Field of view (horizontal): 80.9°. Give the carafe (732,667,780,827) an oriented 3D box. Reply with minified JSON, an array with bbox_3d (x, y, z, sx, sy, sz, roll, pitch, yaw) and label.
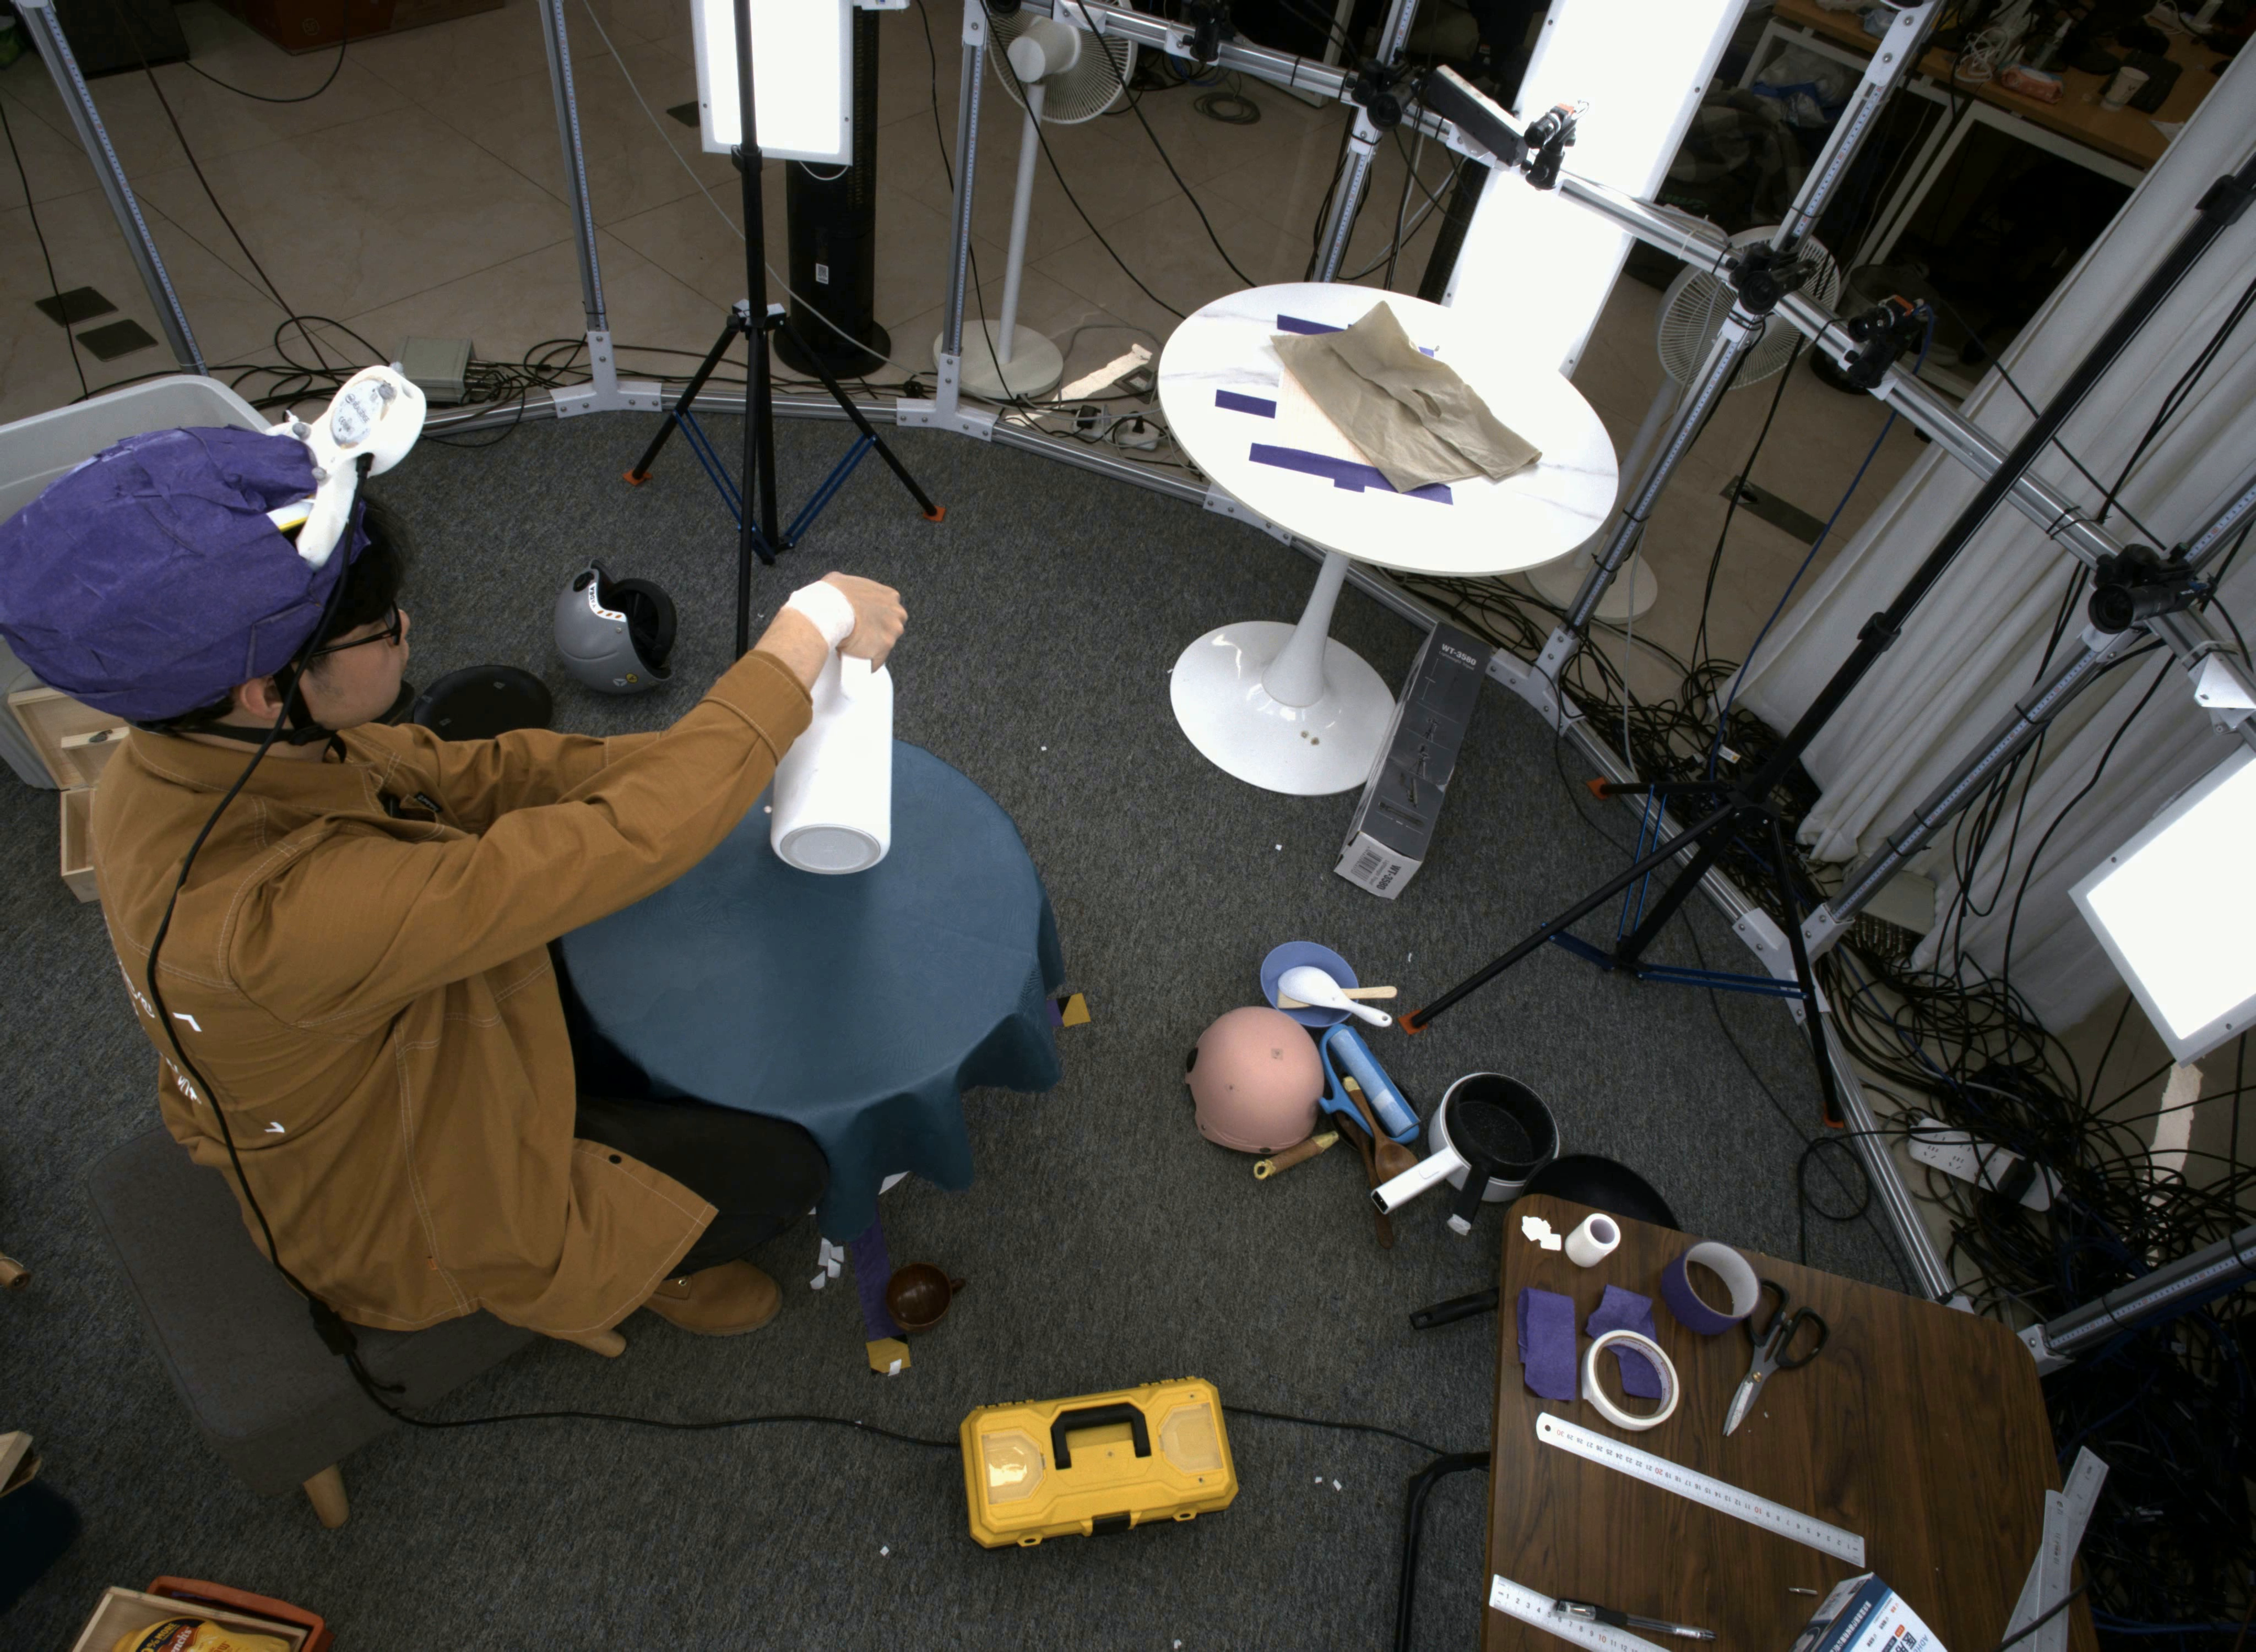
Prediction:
[{"bbox_3d":[-0.395,-0.098,1.566,0.167,0.252,0.131,14,57,-6],"label":"carafe"}]

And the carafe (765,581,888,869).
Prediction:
[{"bbox_3d":[-0.297,-0.108,1.313,0.125,0.173,0.265,10,58,-22],"label":"carafe"}]
